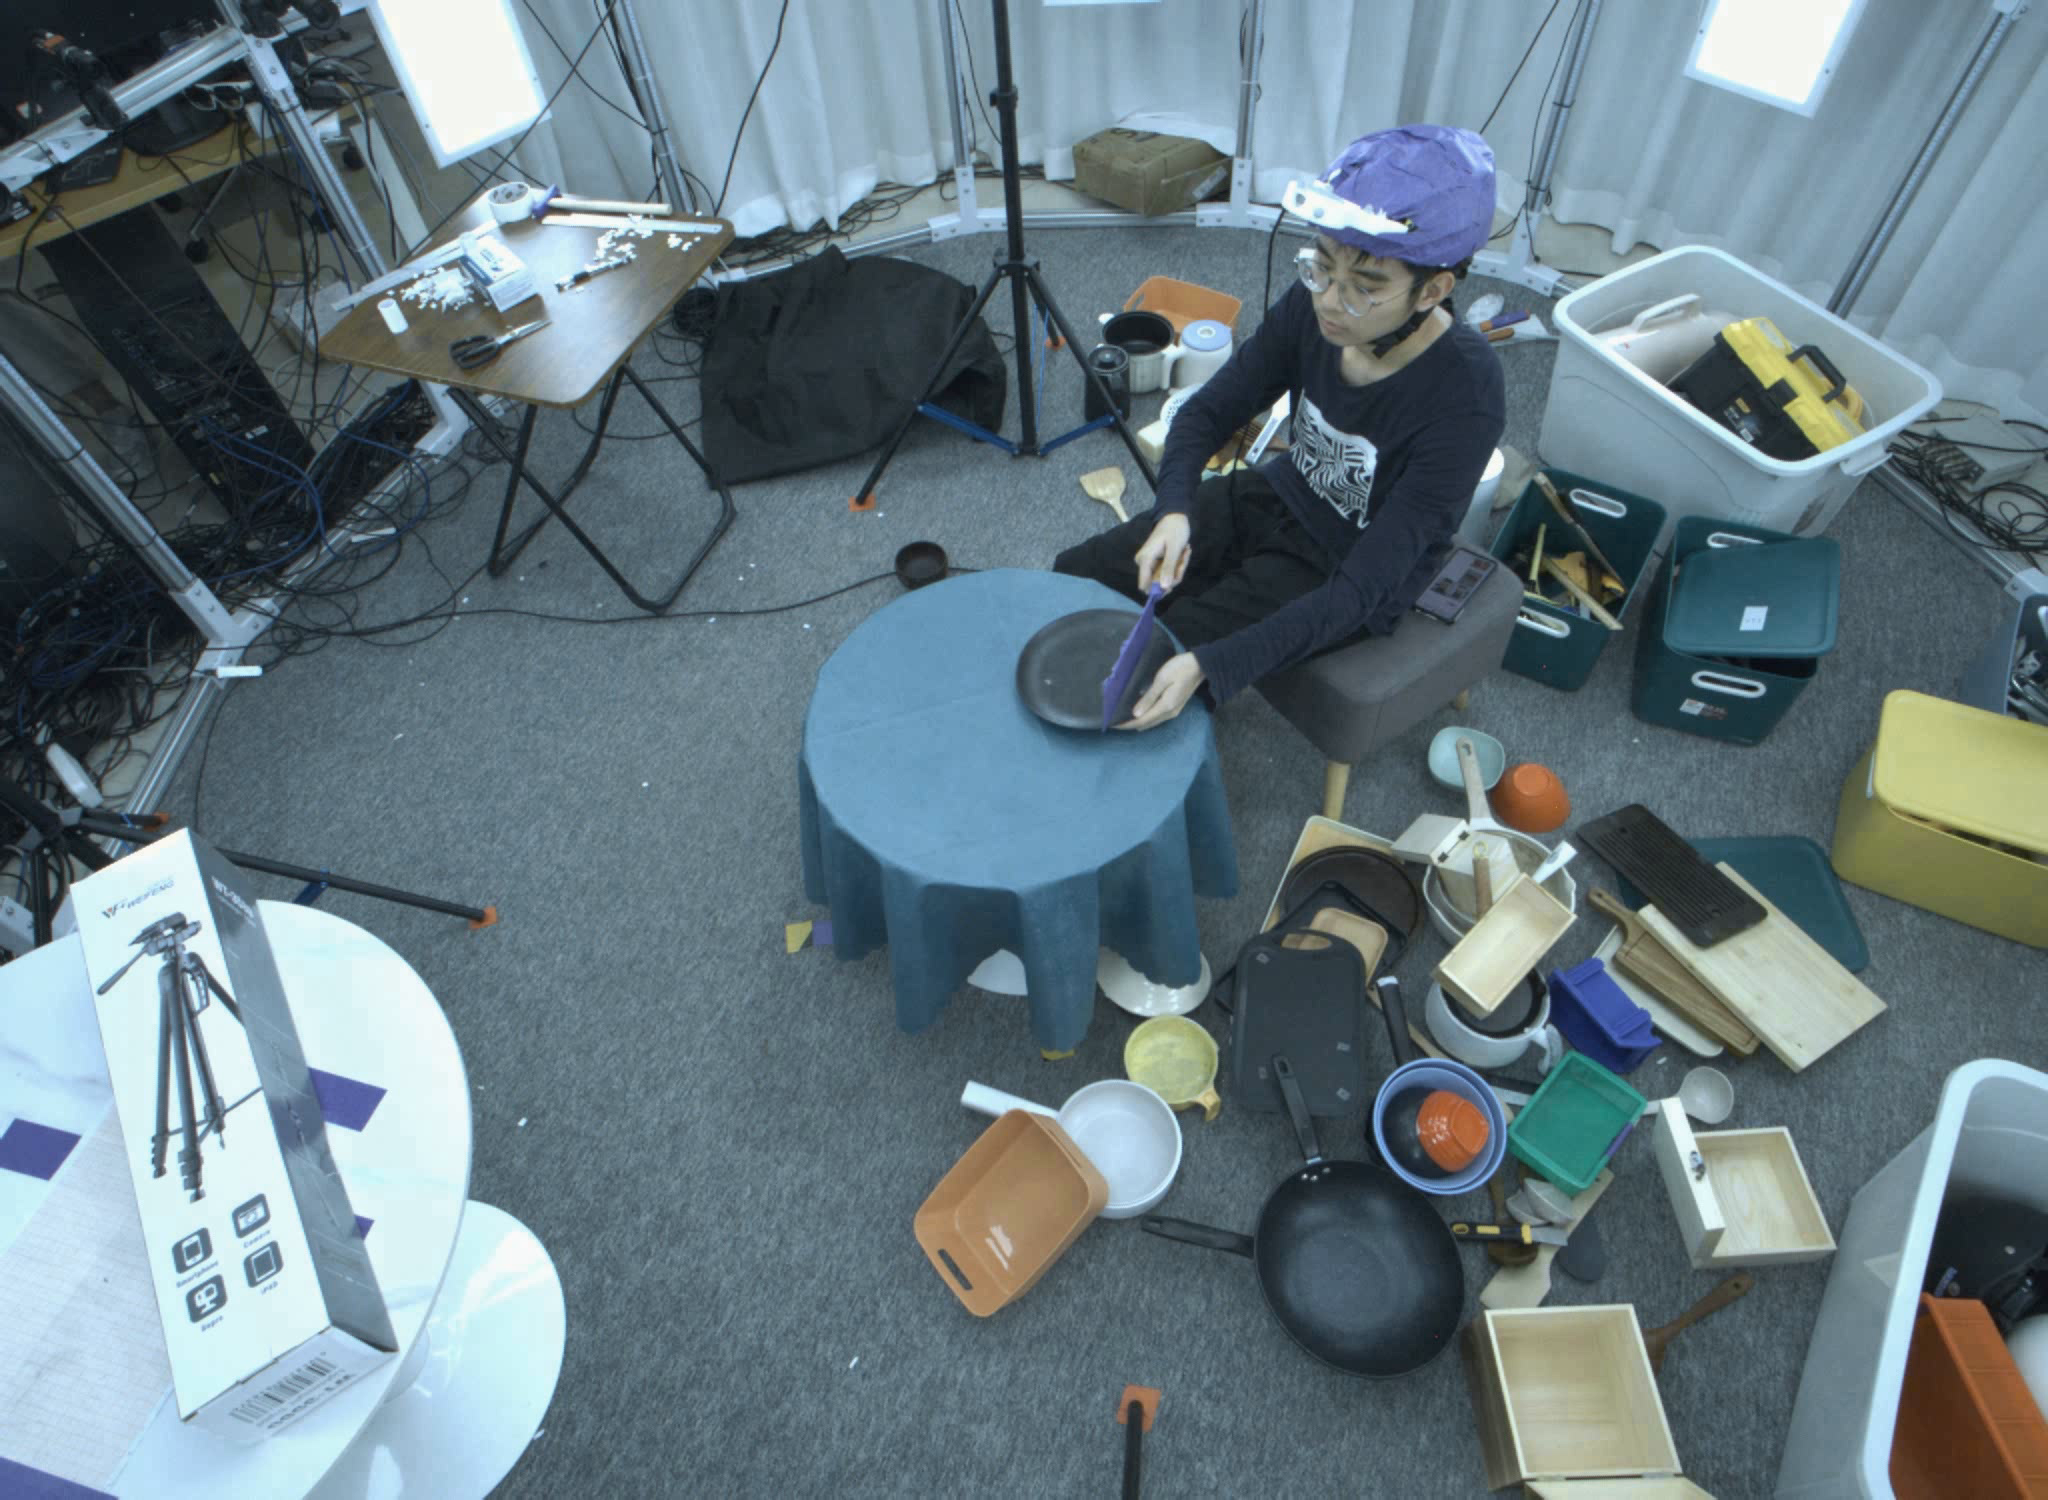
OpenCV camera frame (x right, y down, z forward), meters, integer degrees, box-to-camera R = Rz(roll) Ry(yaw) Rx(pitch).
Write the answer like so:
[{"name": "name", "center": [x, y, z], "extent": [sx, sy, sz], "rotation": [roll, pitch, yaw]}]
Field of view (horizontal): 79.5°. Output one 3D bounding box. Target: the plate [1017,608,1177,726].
[{"name": "plate", "center": [0.110, -0.122, 1.851], "extent": [0.243, 0.024, 0.242], "rotation": [-5, 49, 7]}]

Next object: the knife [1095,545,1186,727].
[{"name": "knife", "center": [0.167, -0.169, 1.801], "extent": [0.032, 0.105, 0.315], "rotation": [20, 56, 16]}]
